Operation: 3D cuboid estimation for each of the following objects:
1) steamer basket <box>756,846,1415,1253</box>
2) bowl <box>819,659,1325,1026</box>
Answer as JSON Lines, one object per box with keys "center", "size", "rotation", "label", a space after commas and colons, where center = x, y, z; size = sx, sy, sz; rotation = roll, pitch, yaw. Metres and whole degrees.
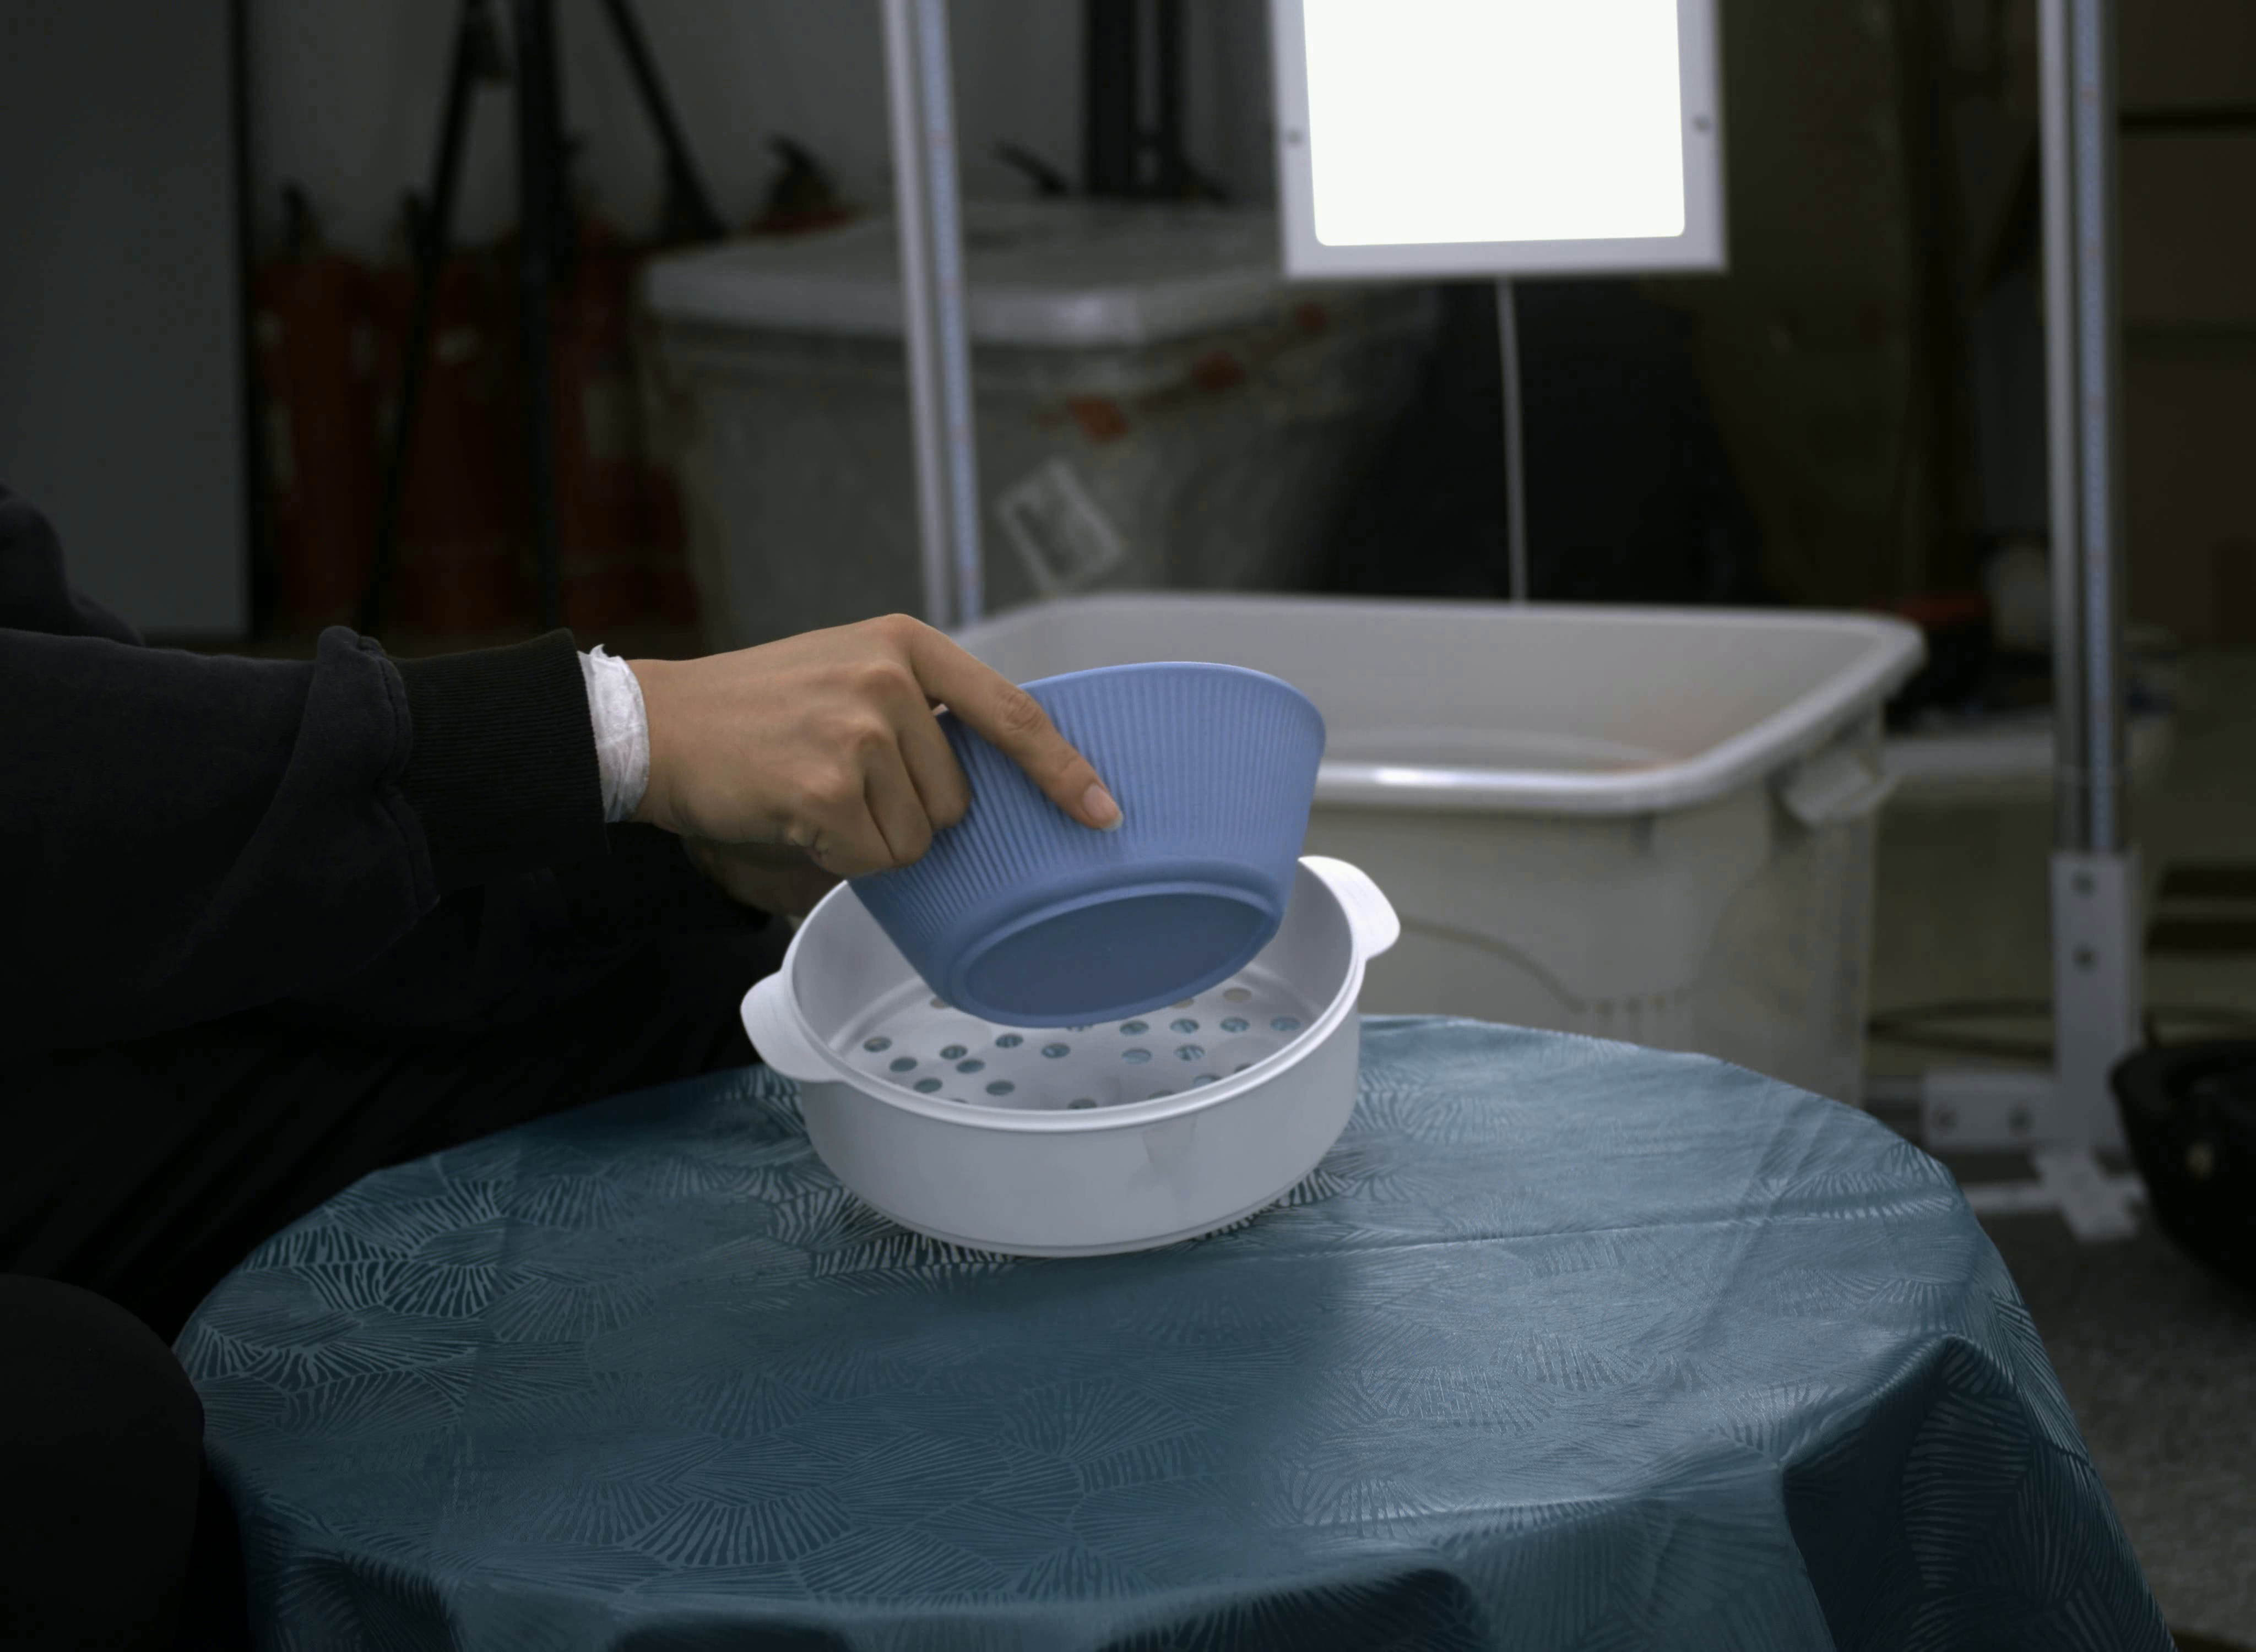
{"center": [-0.013, 0.070, 1.899], "size": [0.227, 0.069, 0.203], "rotation": [-11, 31, -14], "label": "steamer basket"}
{"center": [-0.012, 0.013, 1.841], "size": [0.175, 0.070, 0.177], "rotation": [-10, -24, -6], "label": "bowl"}
